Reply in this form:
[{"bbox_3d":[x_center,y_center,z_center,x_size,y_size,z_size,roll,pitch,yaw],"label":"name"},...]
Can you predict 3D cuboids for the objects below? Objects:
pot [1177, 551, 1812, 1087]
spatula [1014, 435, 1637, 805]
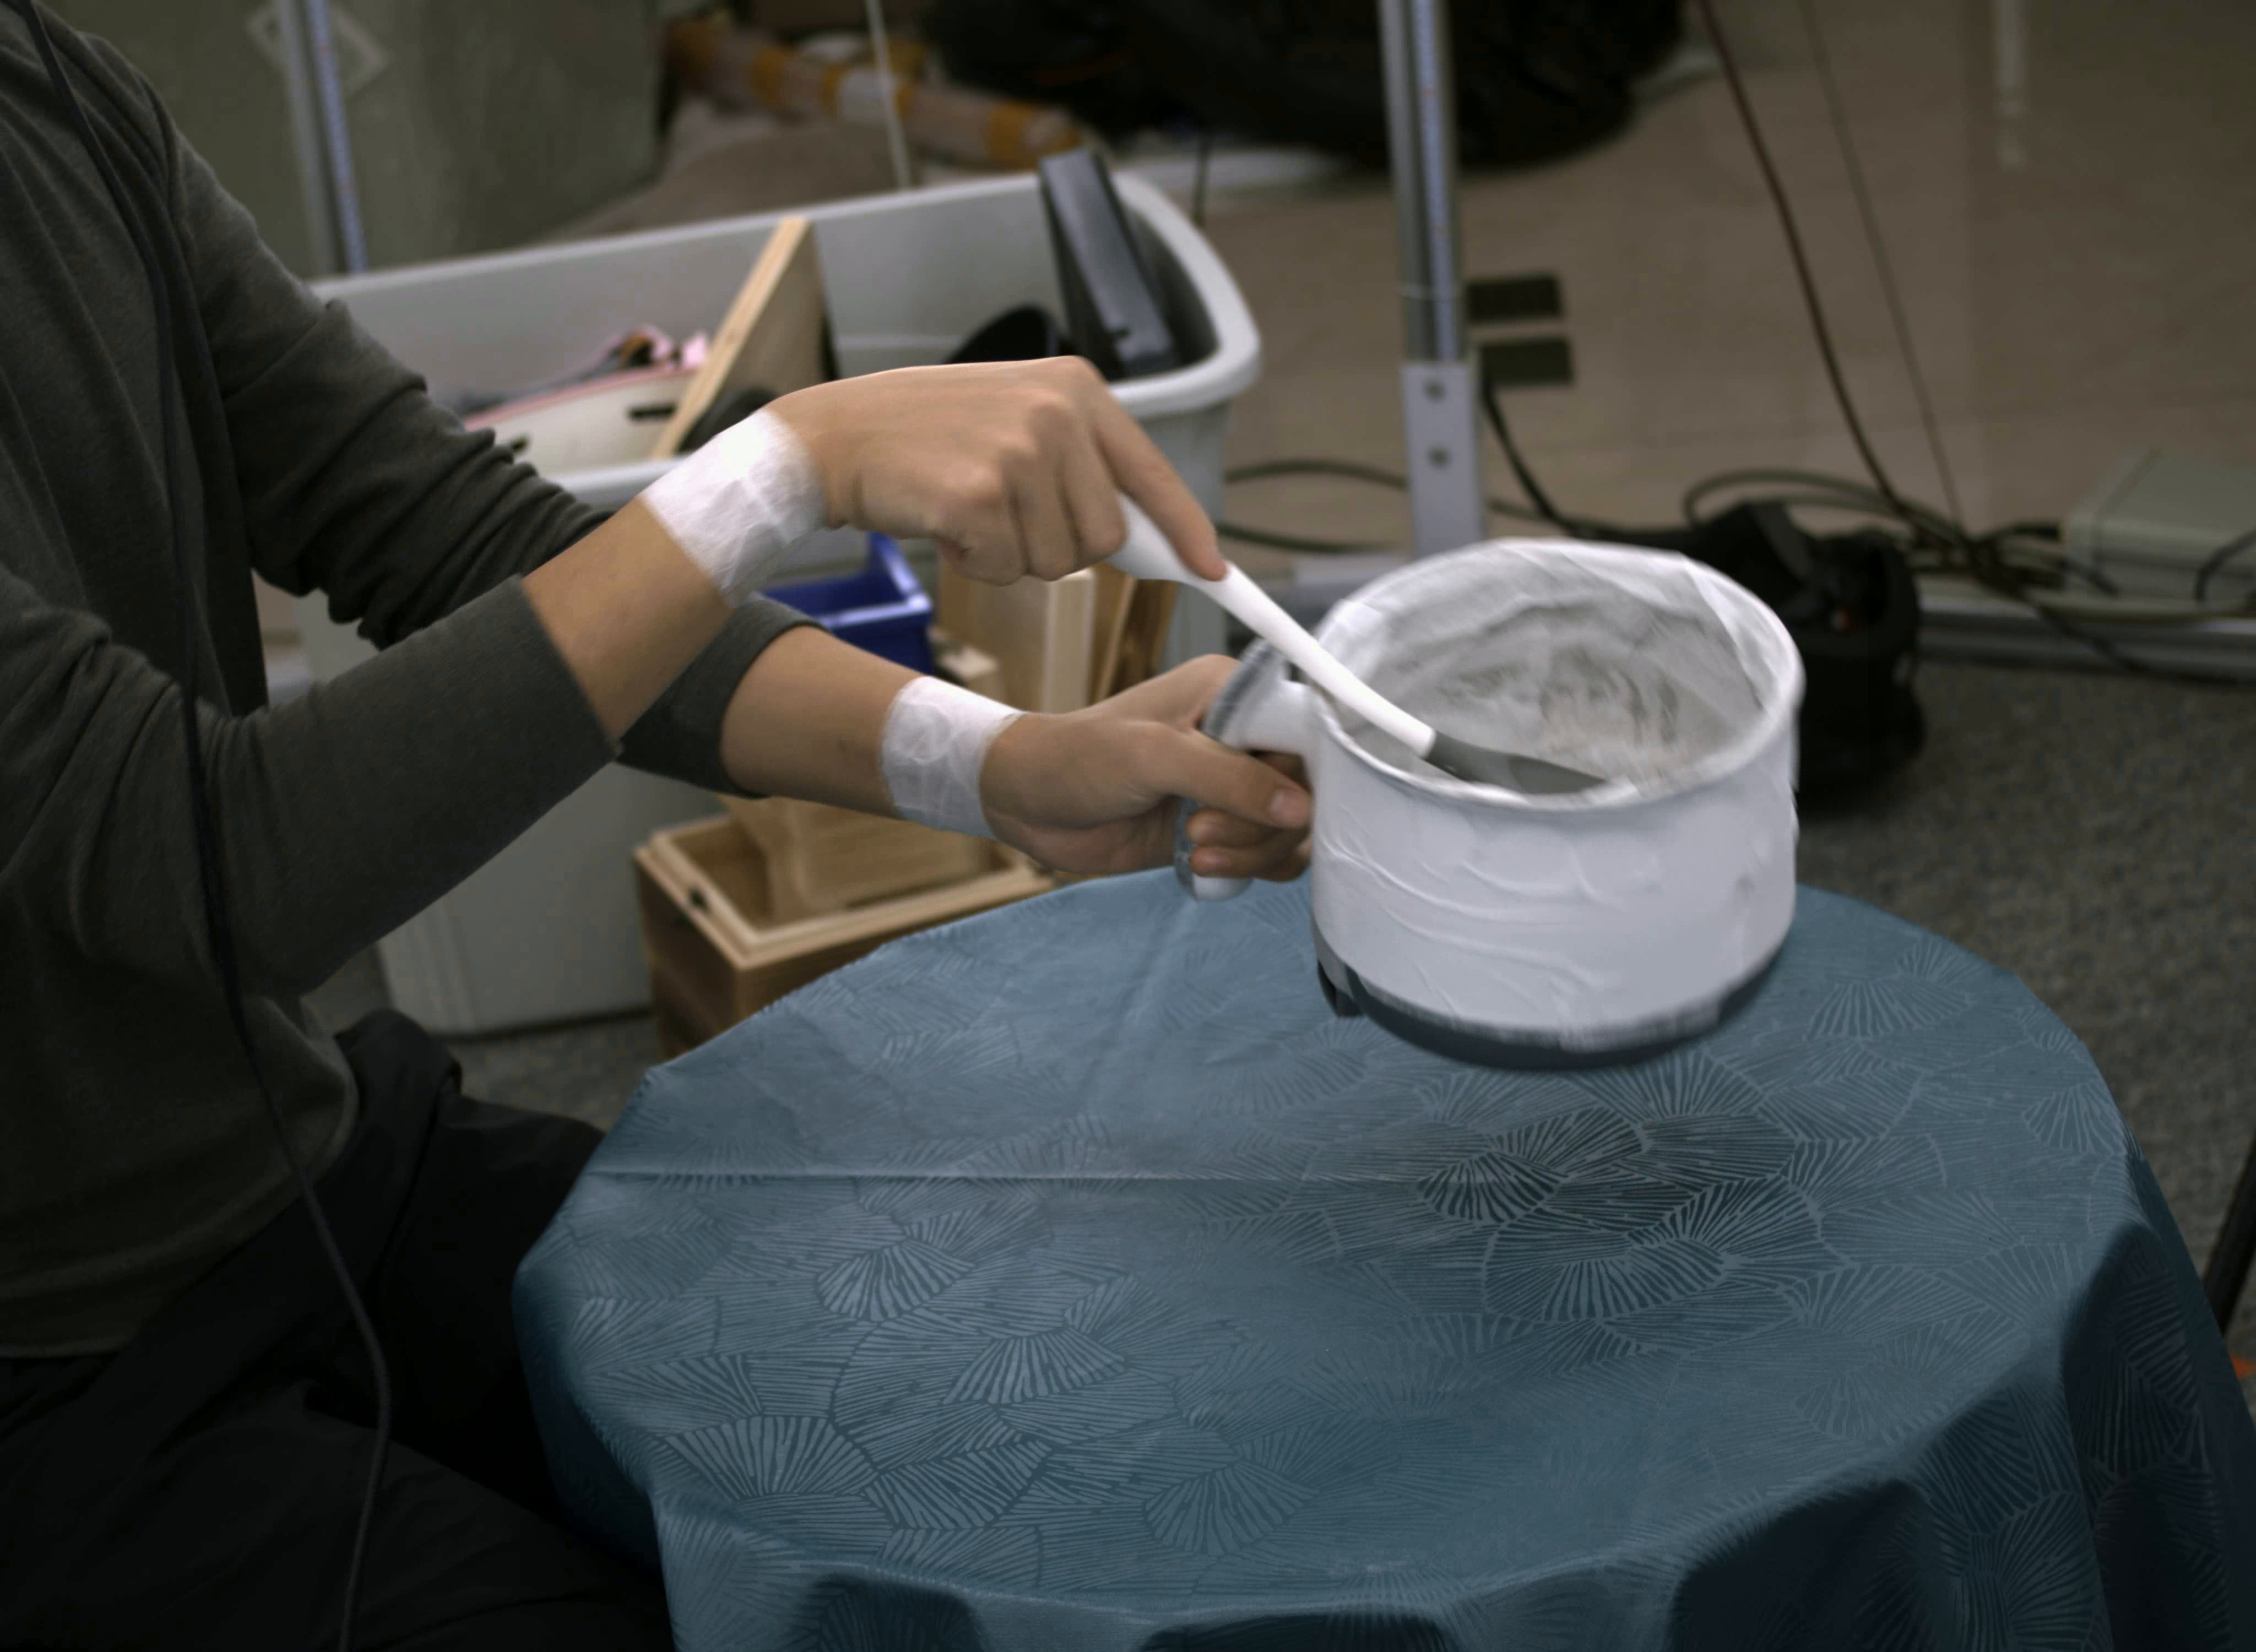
[{"bbox_3d":[0.130,-0.004,2.067,0.233,0.139,0.176,9,36,14],"label":"pot"},{"bbox_3d":[0.086,-0.054,2.020,0.289,0.032,0.058,31,18,-15],"label":"spatula"}]
